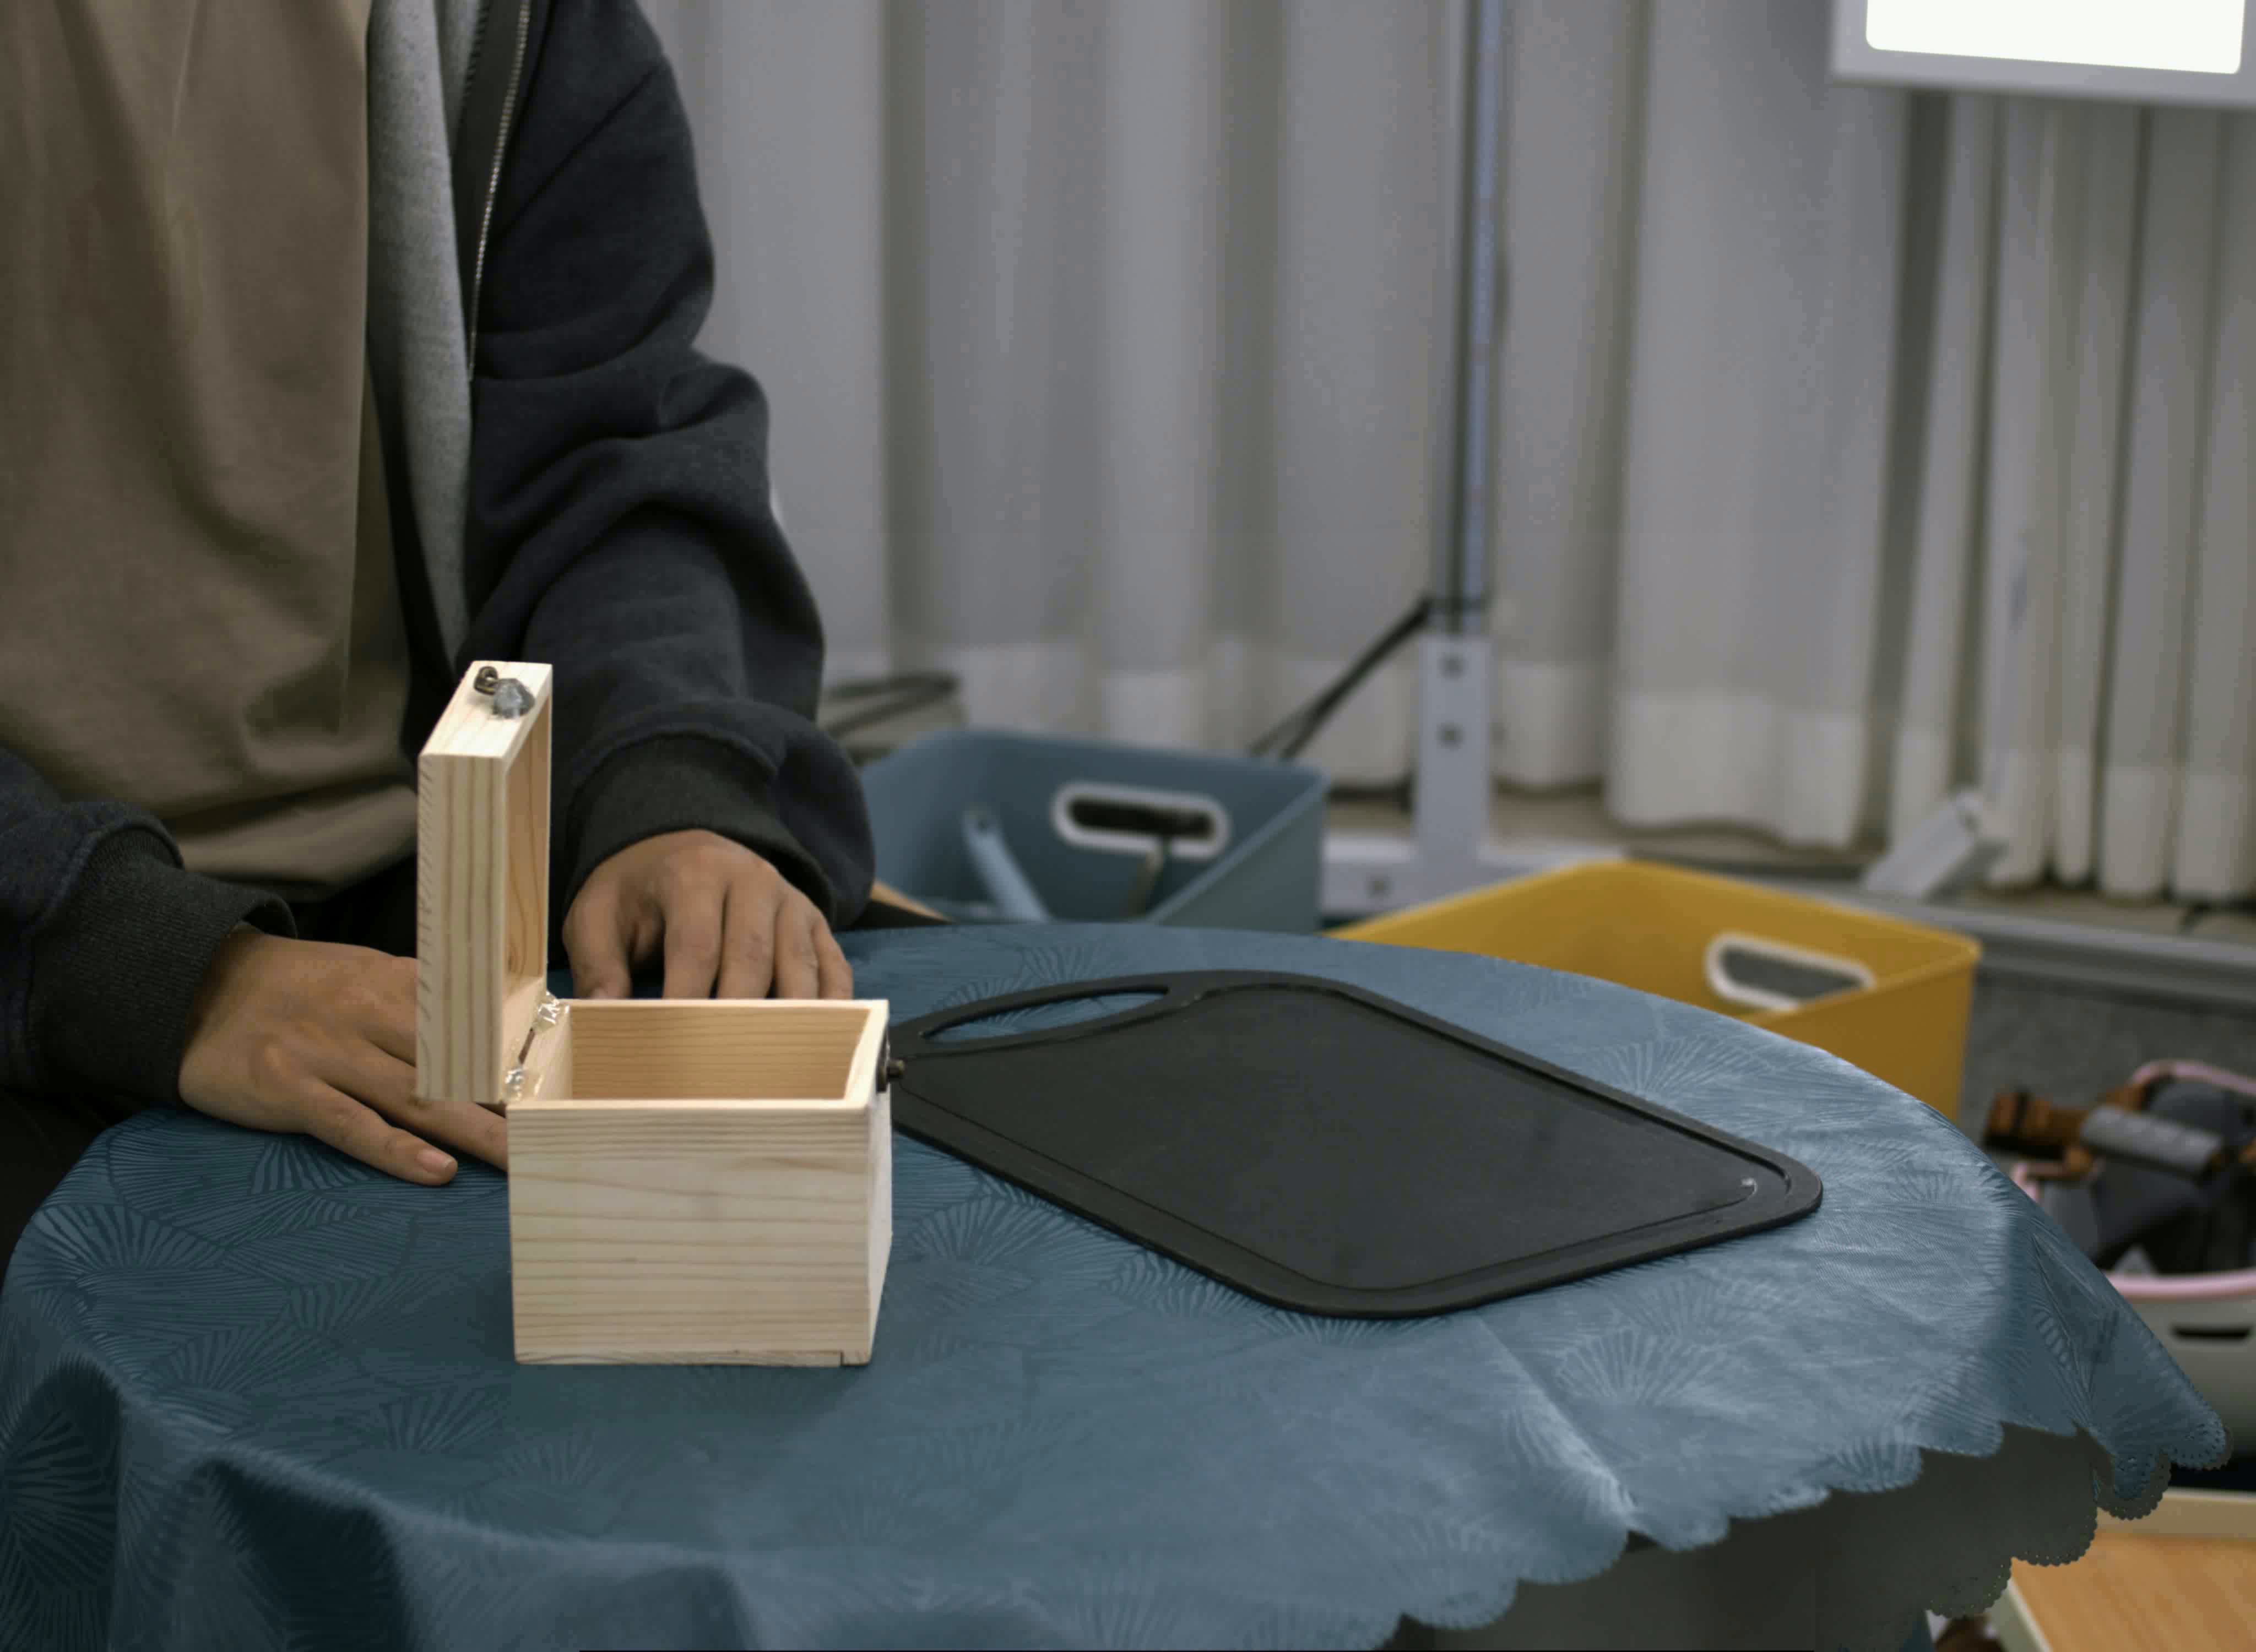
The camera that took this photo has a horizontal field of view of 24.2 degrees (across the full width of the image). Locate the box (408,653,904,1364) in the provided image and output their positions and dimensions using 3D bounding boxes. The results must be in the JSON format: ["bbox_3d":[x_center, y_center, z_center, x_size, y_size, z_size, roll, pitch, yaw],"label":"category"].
[{"bbox_3d":[-0.131,0.049,1.497,0.133,0.186,0.102,-1,17,0],"label":"box"}]

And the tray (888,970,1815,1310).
[{"bbox_3d":[0.051,0.093,1.682,0.212,0.010,0.321,-10,19,-34],"label":"tray"}]
